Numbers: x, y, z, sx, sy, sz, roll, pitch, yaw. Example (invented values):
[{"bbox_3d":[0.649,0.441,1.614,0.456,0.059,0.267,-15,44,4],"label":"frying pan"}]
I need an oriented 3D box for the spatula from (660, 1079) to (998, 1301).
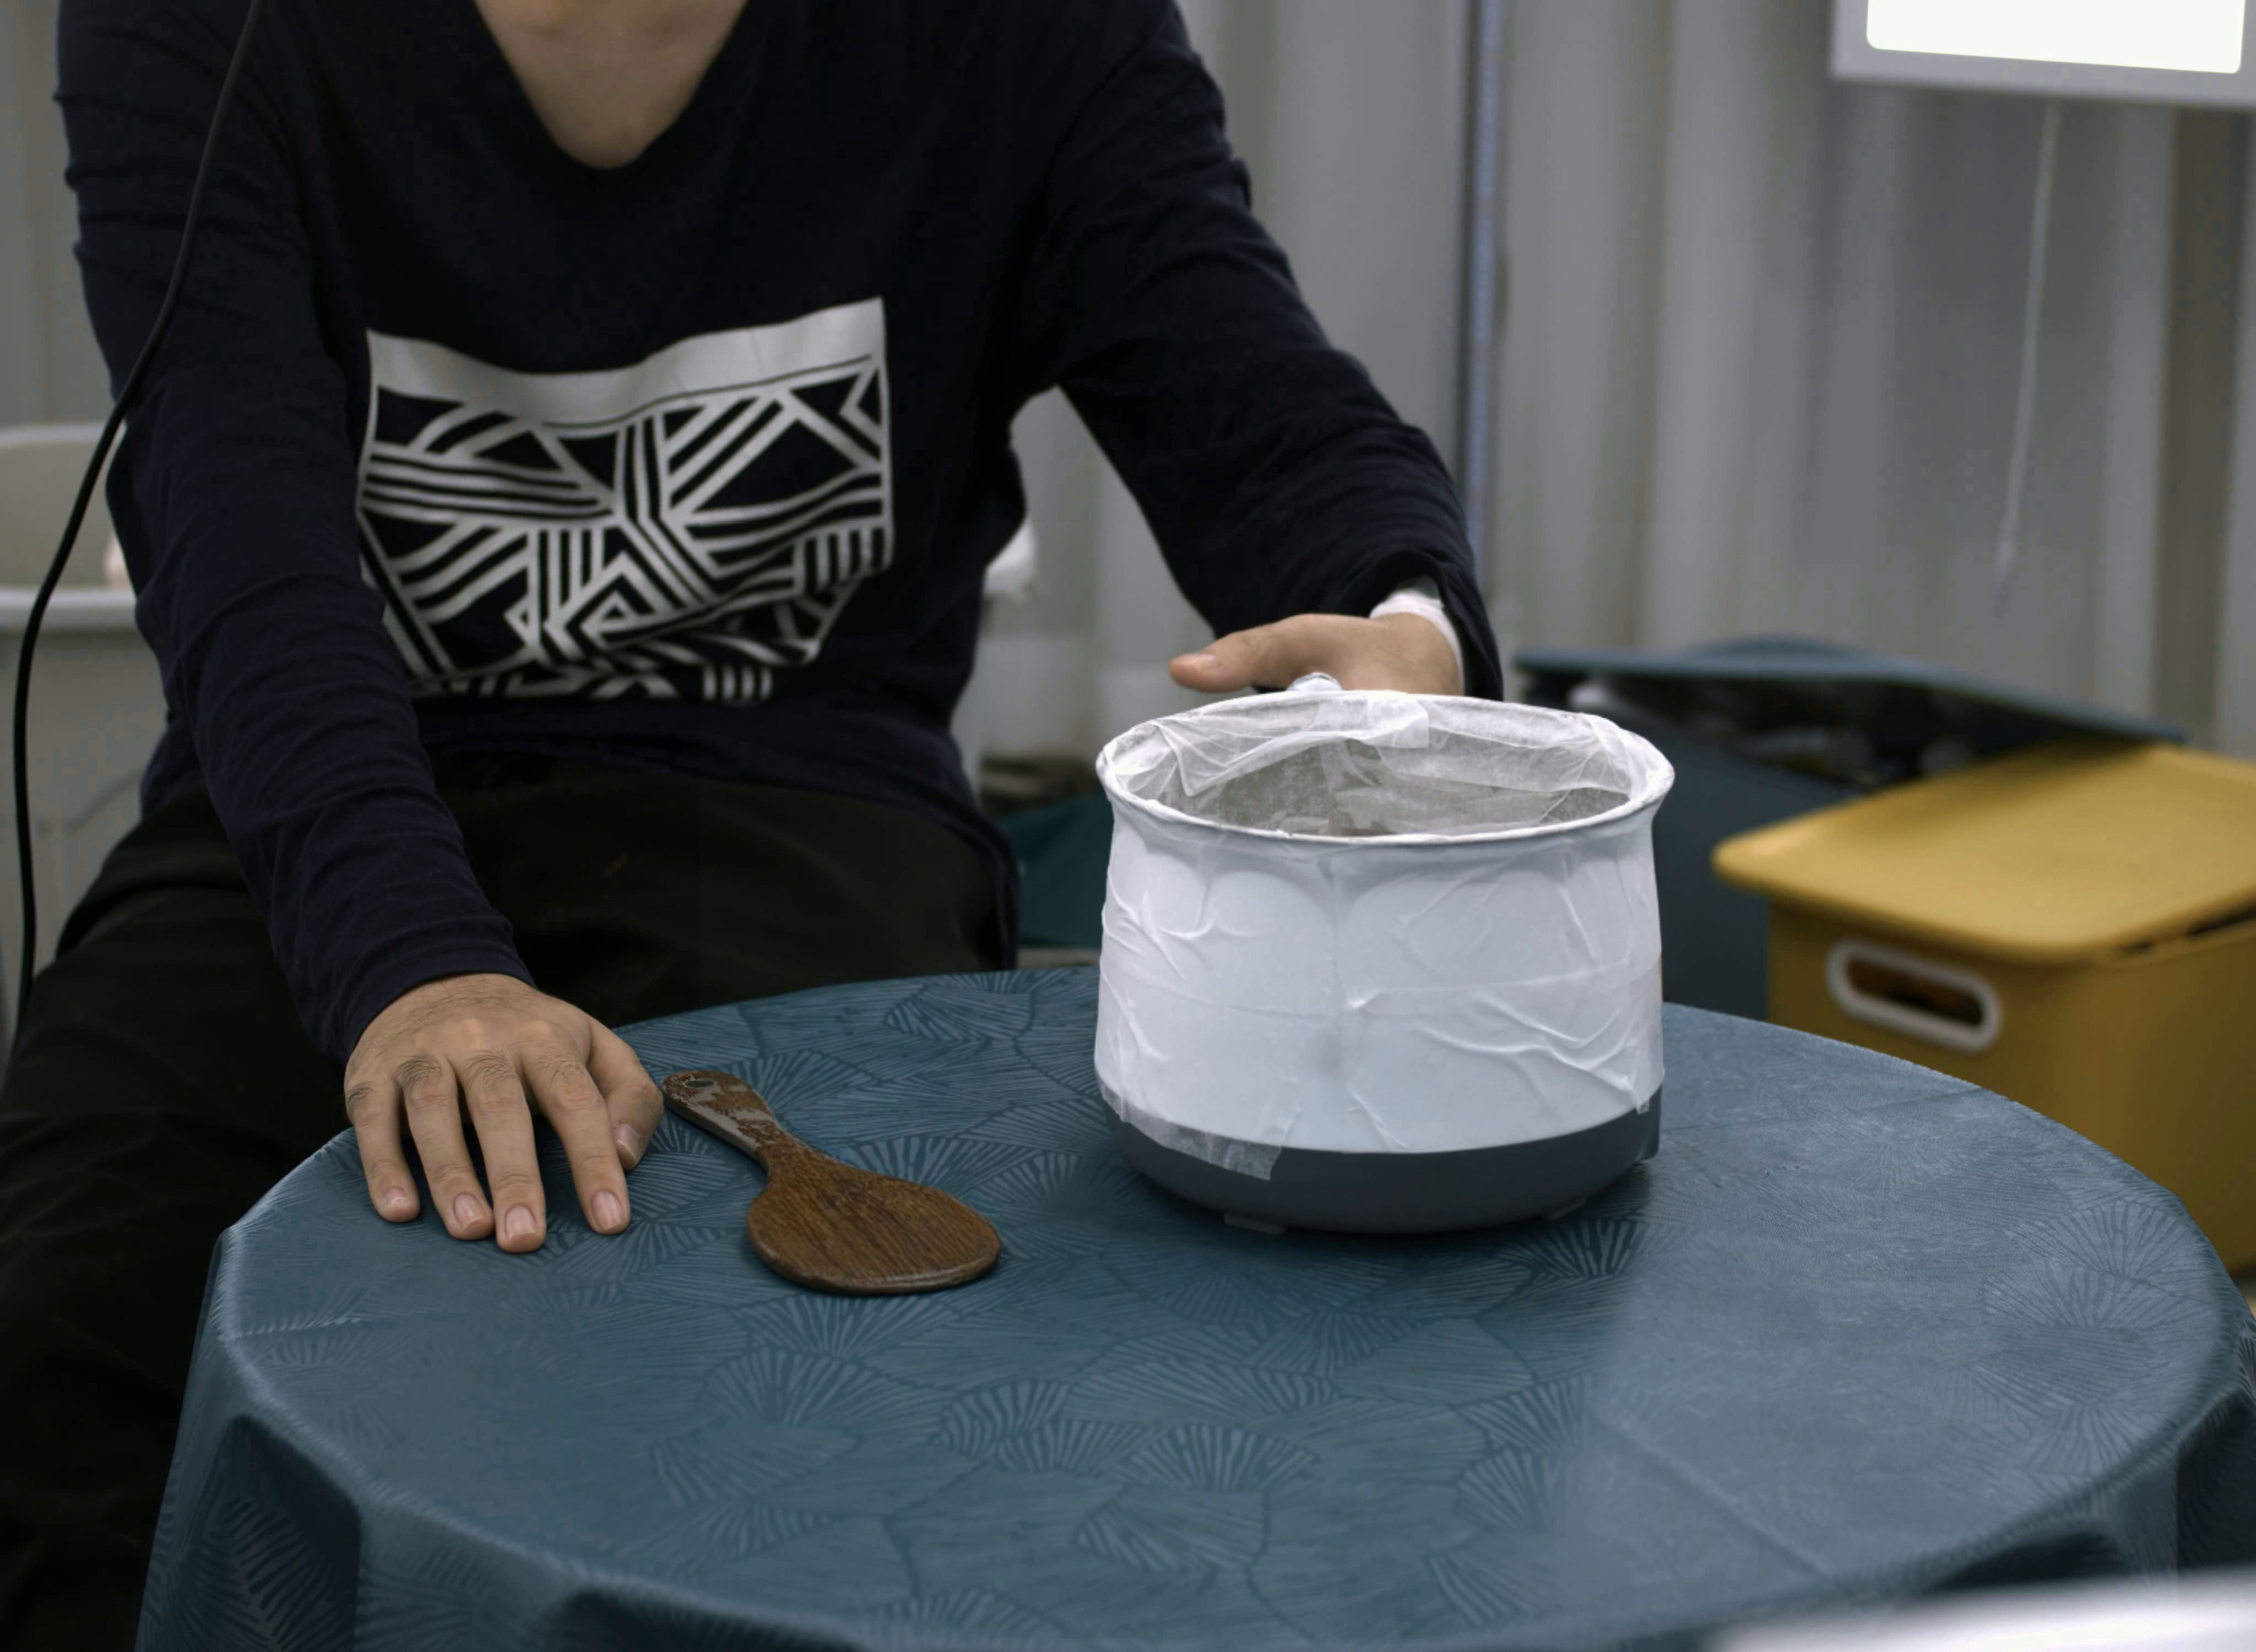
[{"bbox_3d":[-0.102,0.109,1.627,0.072,0.009,0.213,-4,15,-23],"label":"spatula"}]

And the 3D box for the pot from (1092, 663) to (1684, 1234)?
[{"bbox_3d":[0.073,0.033,1.652,0.179,0.138,0.231,0,17,-12],"label":"pot"}]
